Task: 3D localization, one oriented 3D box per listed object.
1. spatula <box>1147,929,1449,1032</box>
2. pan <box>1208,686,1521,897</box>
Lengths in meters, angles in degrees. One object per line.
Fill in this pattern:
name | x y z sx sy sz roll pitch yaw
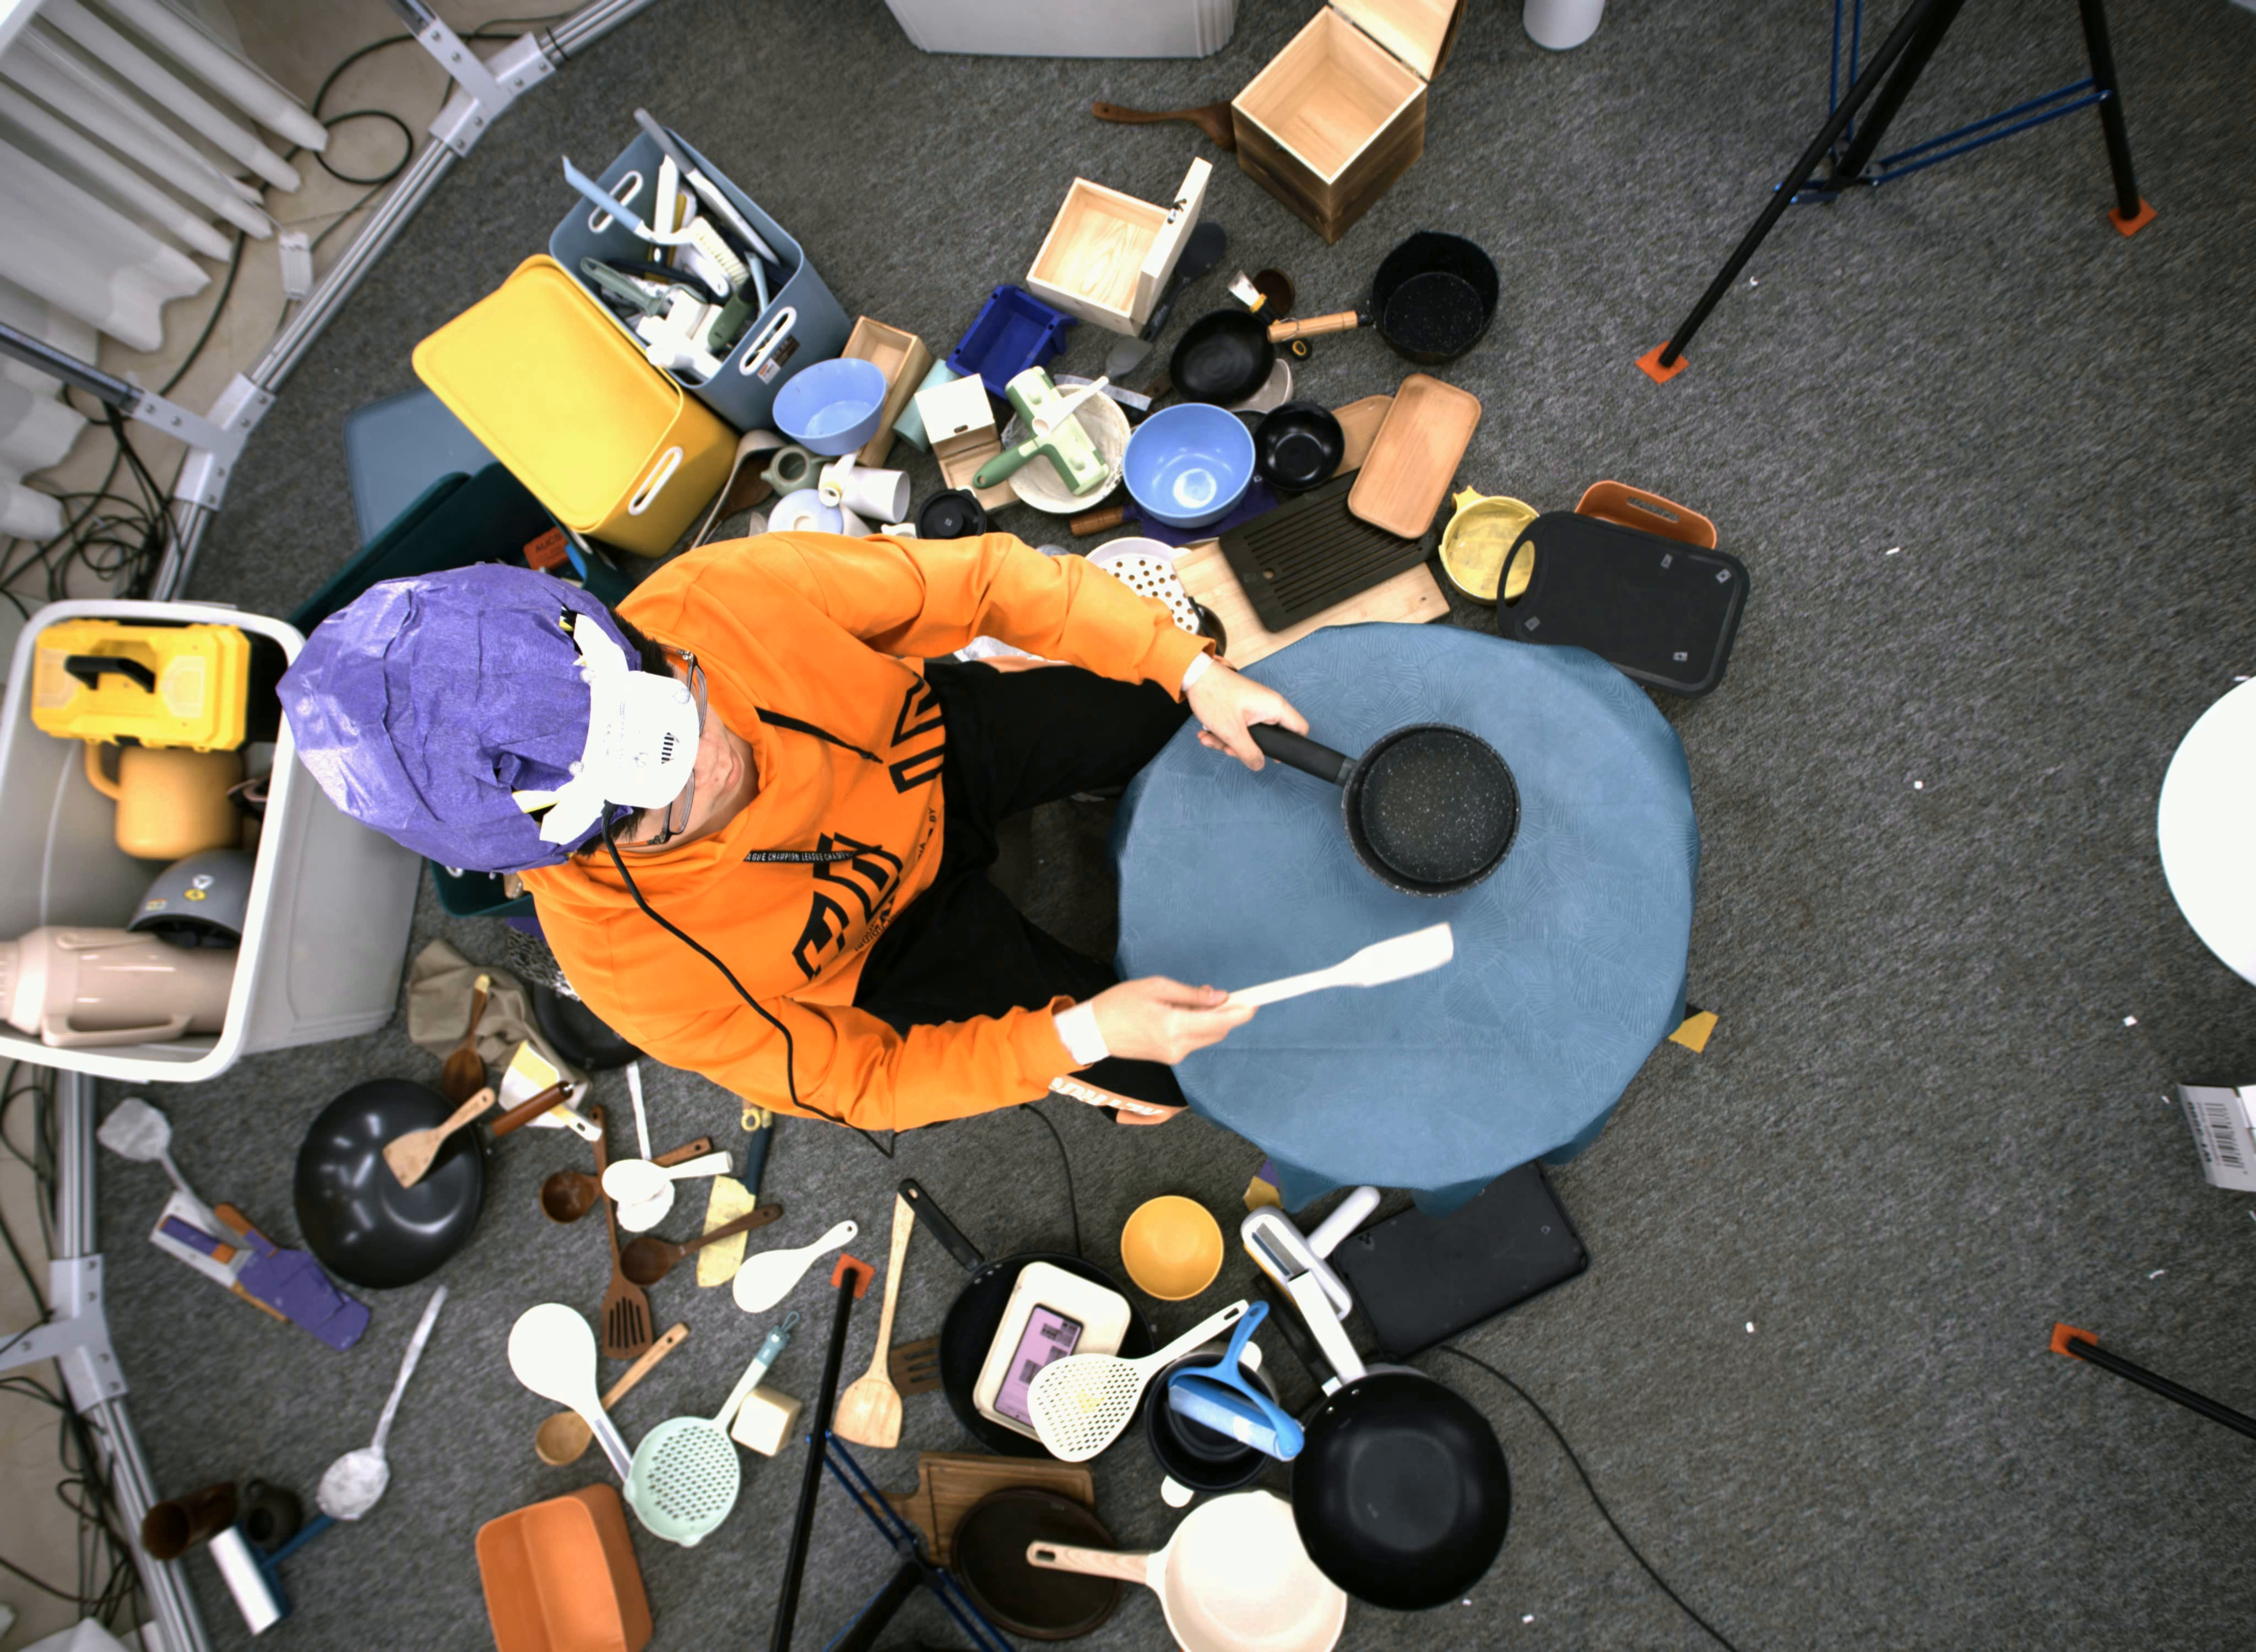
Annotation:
spatula | 0.155 0.151 1.295 0.295 0.070 0.011 -16 113 15
pan | 0.235 -0.054 1.386 0.328 0.086 0.174 27 102 12
